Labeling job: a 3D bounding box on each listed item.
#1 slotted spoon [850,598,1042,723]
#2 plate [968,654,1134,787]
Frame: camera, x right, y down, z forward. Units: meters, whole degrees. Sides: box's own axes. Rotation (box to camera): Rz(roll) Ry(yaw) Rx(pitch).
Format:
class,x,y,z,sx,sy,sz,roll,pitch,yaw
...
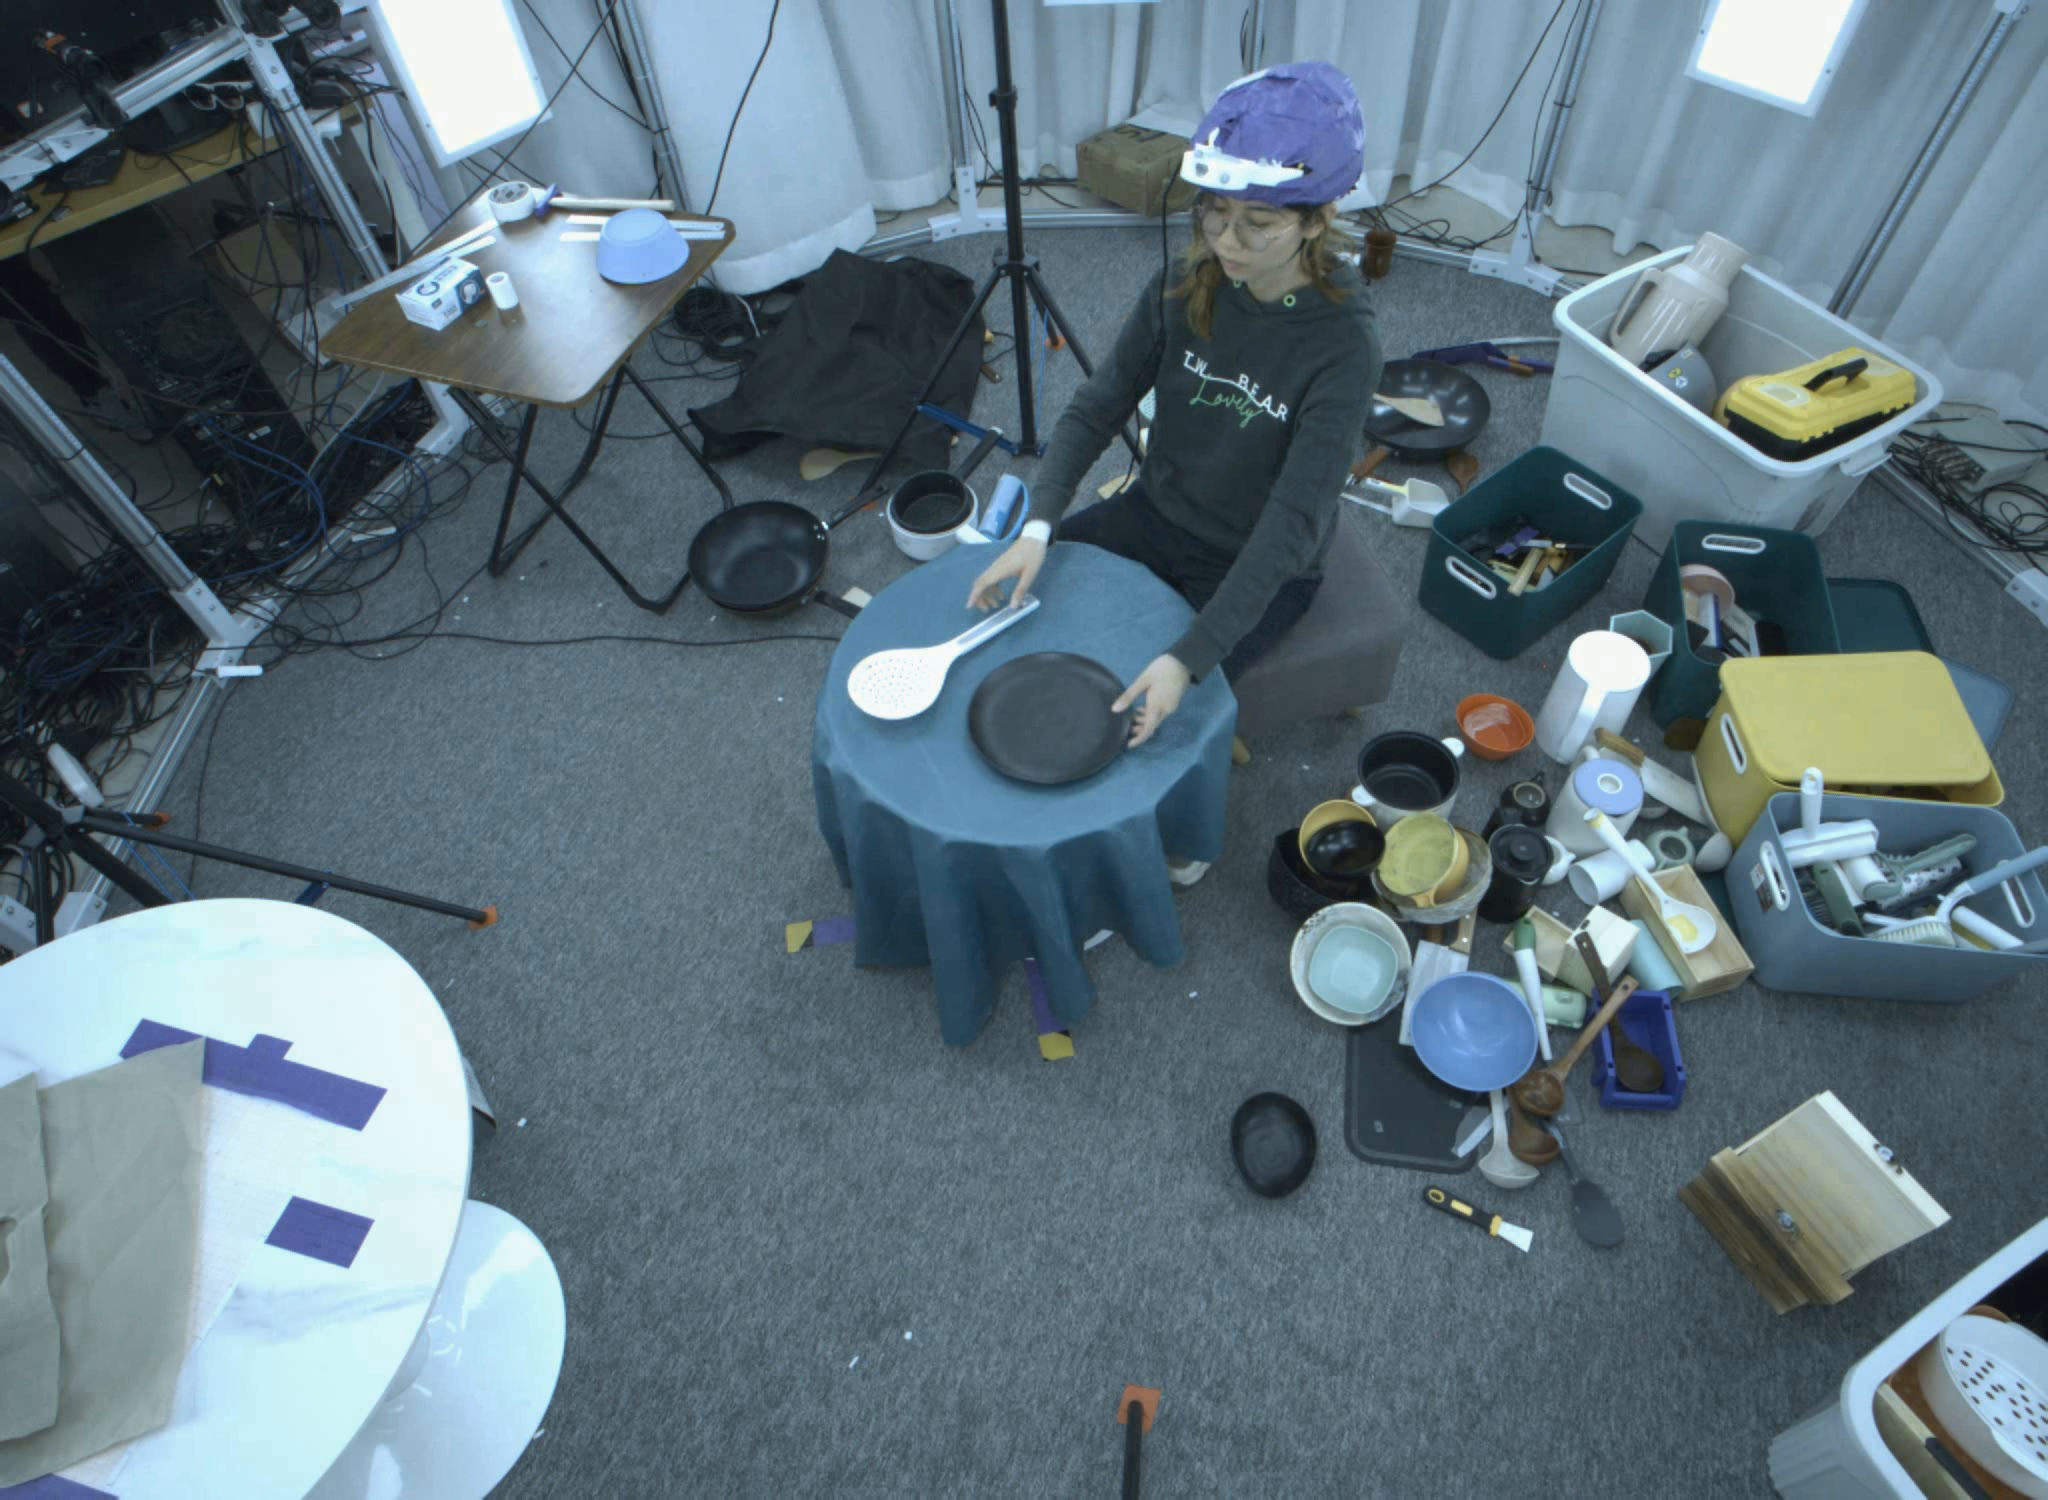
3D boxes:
class,x,y,z,sx,sy,sz,roll,pitch,yaw
slotted spoon,-0.110,-0.145,1.875,0.352,0.046,0.134,-37,64,-23
plate,0.040,-0.041,1.812,0.244,0.023,0.242,0,55,1
